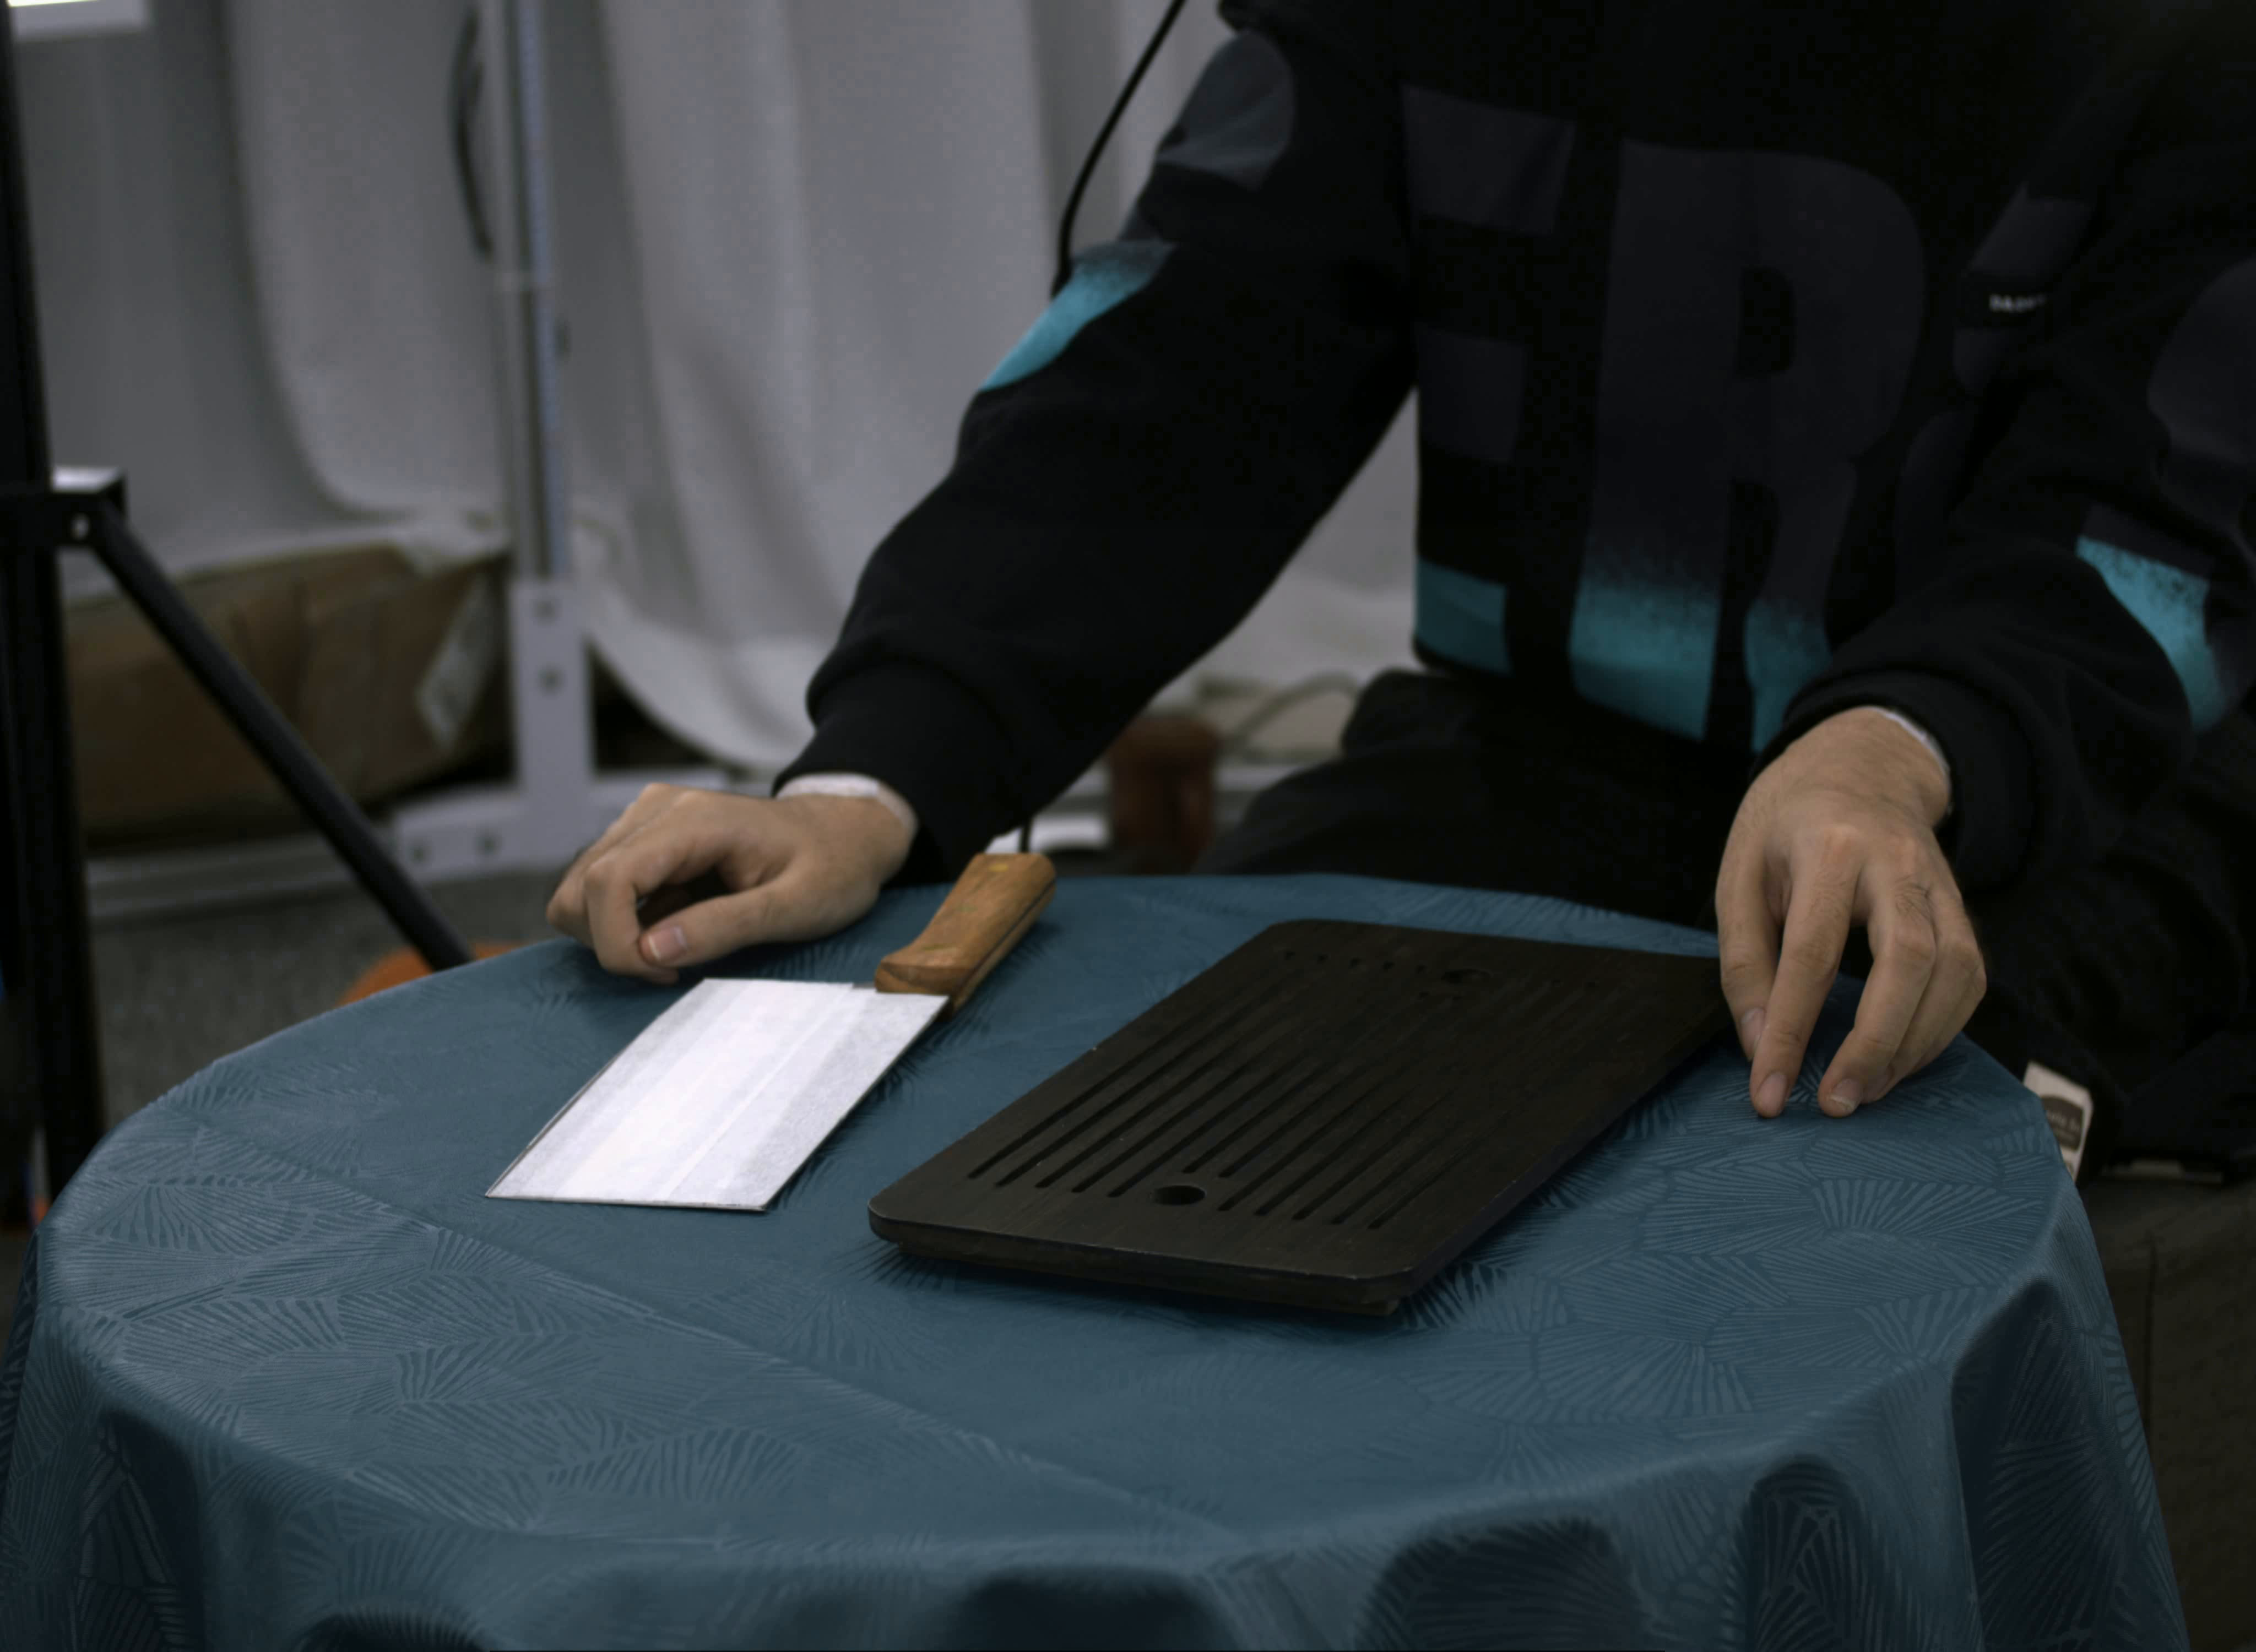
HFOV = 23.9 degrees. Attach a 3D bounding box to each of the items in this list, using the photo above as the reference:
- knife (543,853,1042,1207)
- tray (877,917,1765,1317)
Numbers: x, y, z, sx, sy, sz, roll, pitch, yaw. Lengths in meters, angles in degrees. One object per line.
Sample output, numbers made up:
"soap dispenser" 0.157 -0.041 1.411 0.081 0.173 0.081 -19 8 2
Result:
"knife" -0.106 0.064 1.705 0.094 0.021 0.303 0 18 17
"tray" 0.066 0.084 1.596 0.173 0.018 0.301 5 18 27
